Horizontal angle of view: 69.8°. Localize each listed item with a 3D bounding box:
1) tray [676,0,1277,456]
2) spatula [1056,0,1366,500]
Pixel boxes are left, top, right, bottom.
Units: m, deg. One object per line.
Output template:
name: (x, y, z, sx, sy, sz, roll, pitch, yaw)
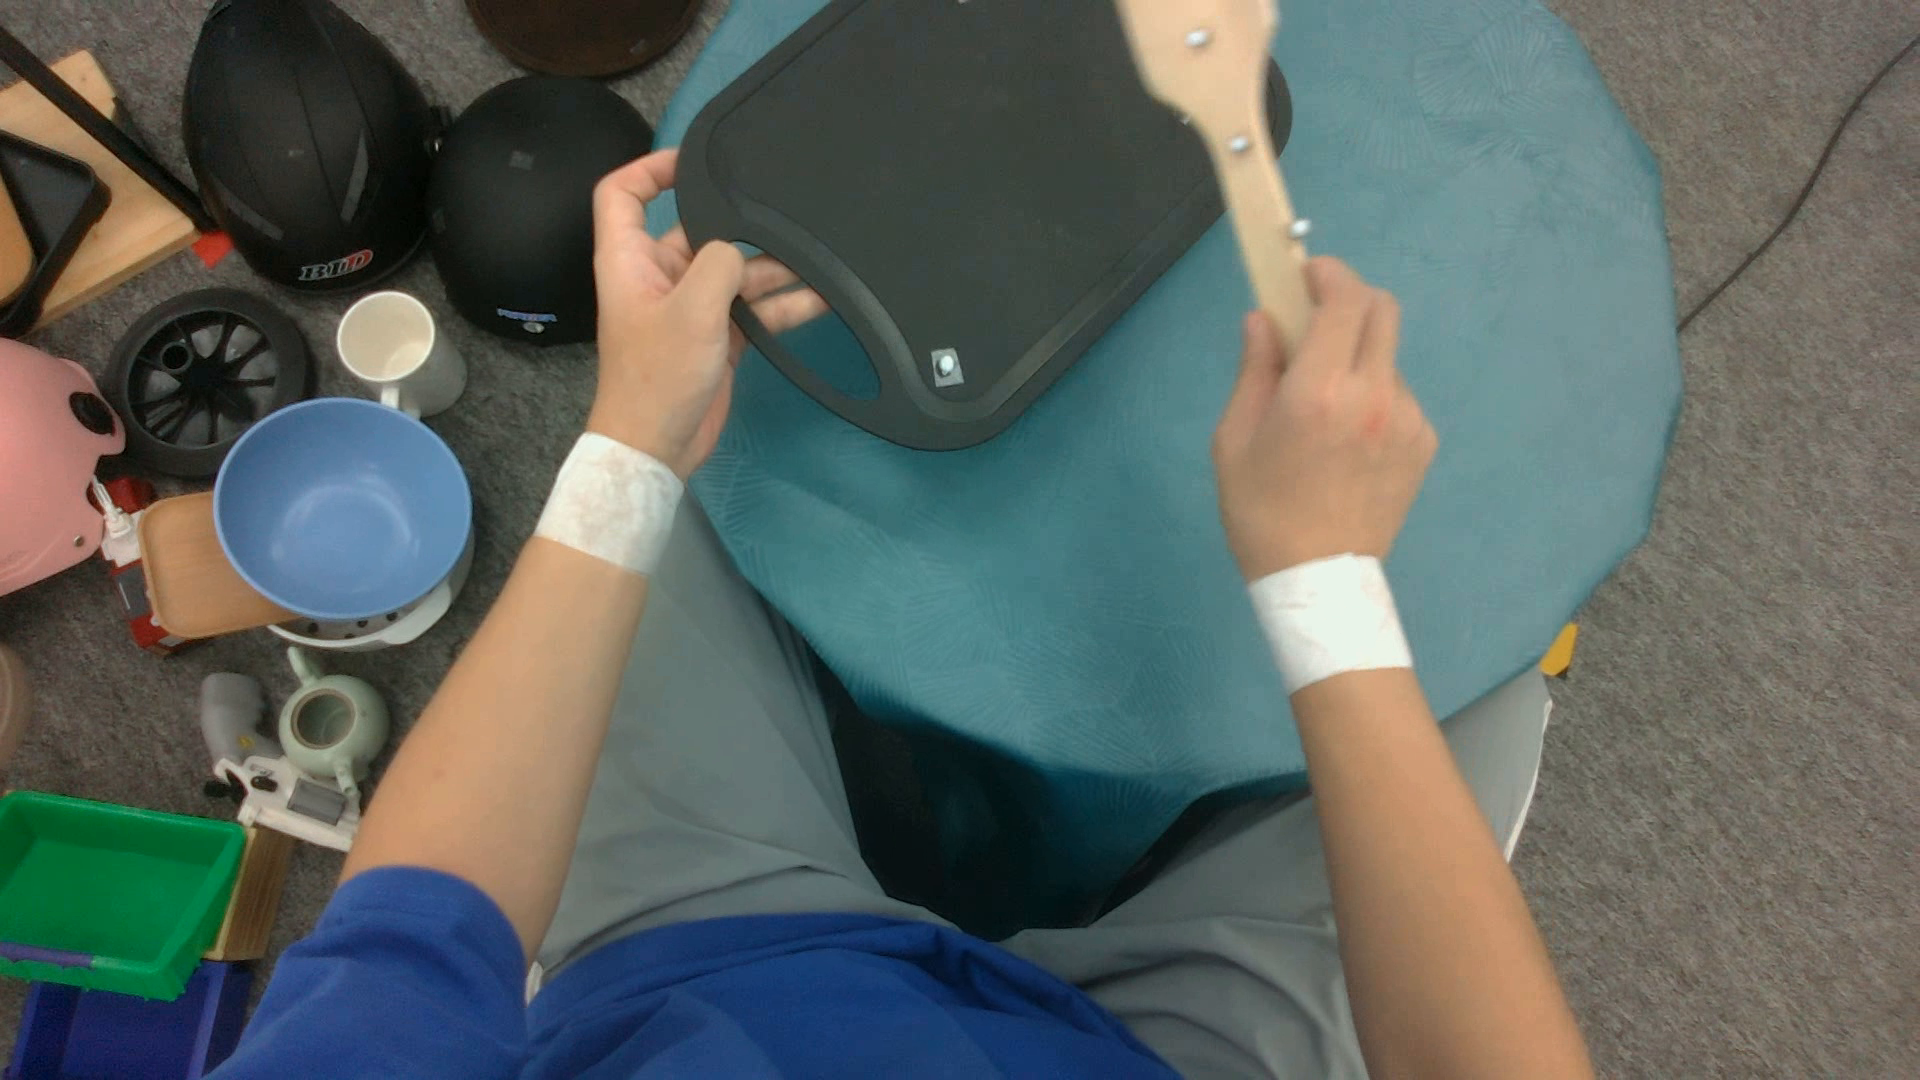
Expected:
tray: (0.015, -0.195, 0.709, 0.211, 0.010, 0.326, 46, 72, -4)
spatula: (0.123, -0.154, 0.646, 0.011, 0.072, 0.293, -24, 90, -42)
